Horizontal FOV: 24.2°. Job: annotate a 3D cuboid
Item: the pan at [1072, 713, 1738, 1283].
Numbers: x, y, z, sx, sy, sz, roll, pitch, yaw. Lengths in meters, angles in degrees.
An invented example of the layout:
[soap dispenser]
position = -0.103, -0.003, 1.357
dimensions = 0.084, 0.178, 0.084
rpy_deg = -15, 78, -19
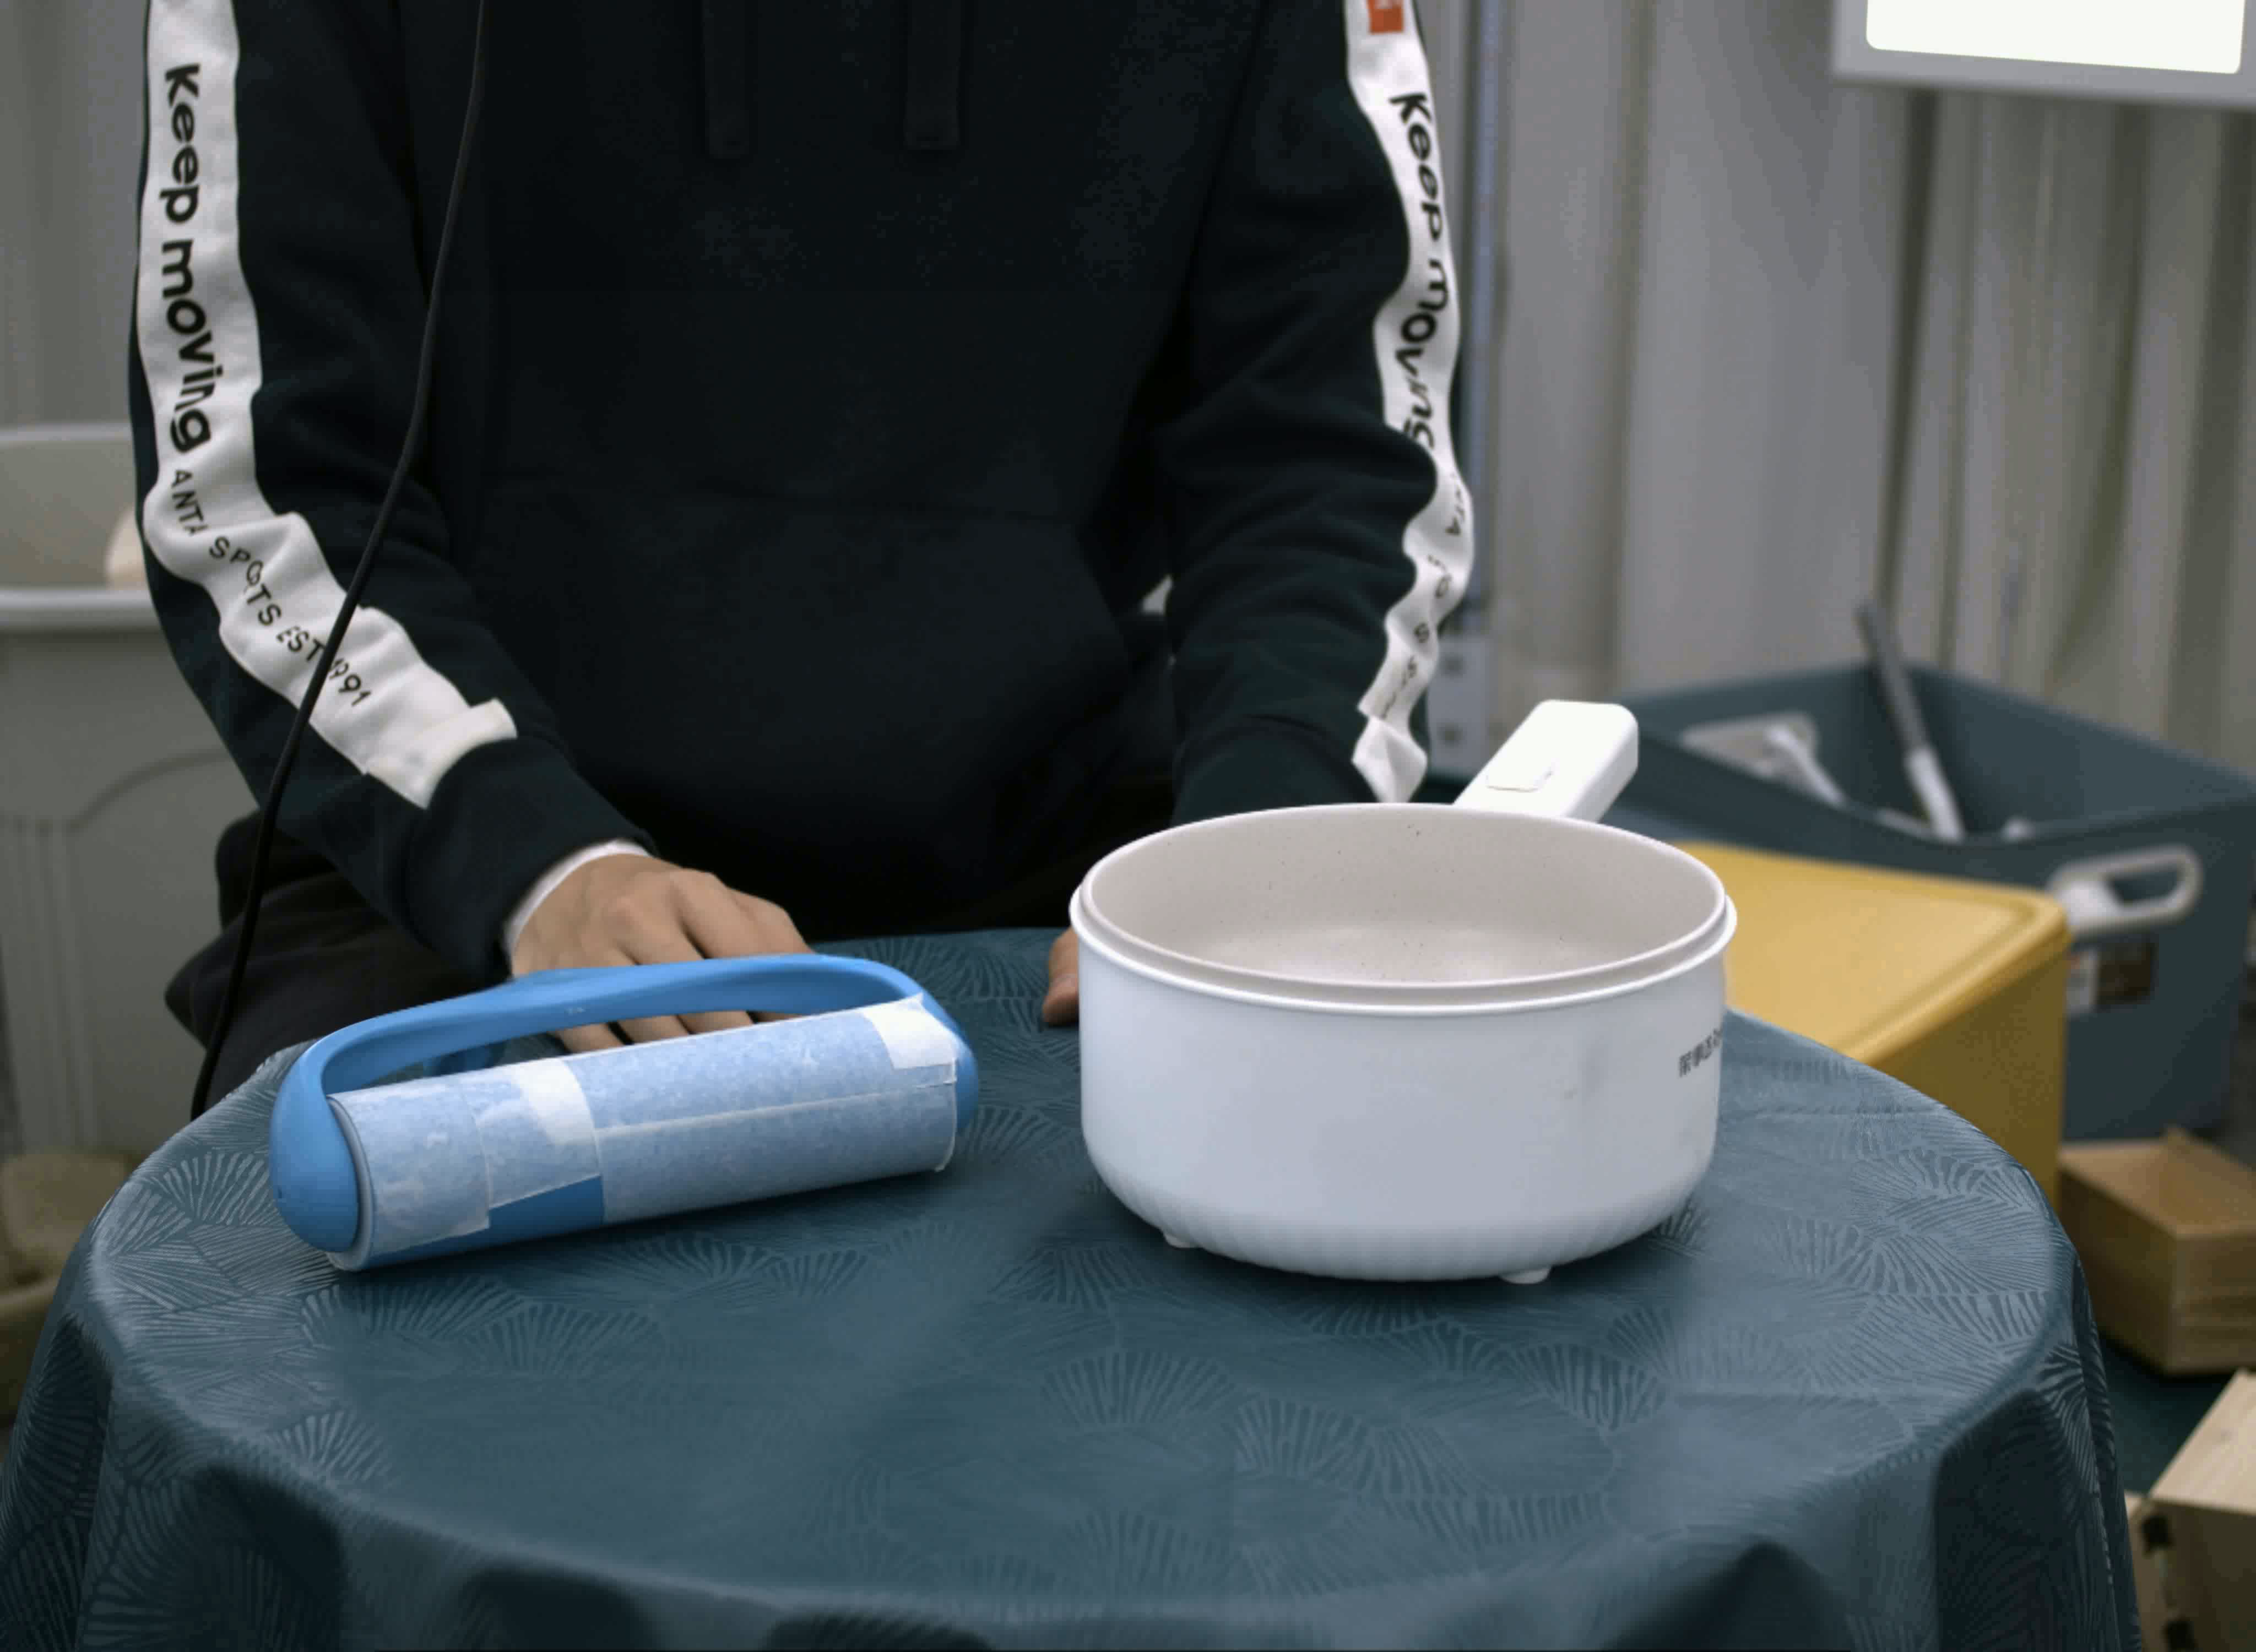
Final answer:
[pan]
position = 0.106, 0.049, 1.666
dimensions = 0.199, 0.103, 0.355
rpy_deg = 4, 15, 17

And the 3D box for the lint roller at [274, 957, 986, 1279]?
[lint roller]
position = -0.178, 0.078, 1.632
dimensions = 0.230, 0.068, 0.178
rpy_deg = -11, 20, -31
